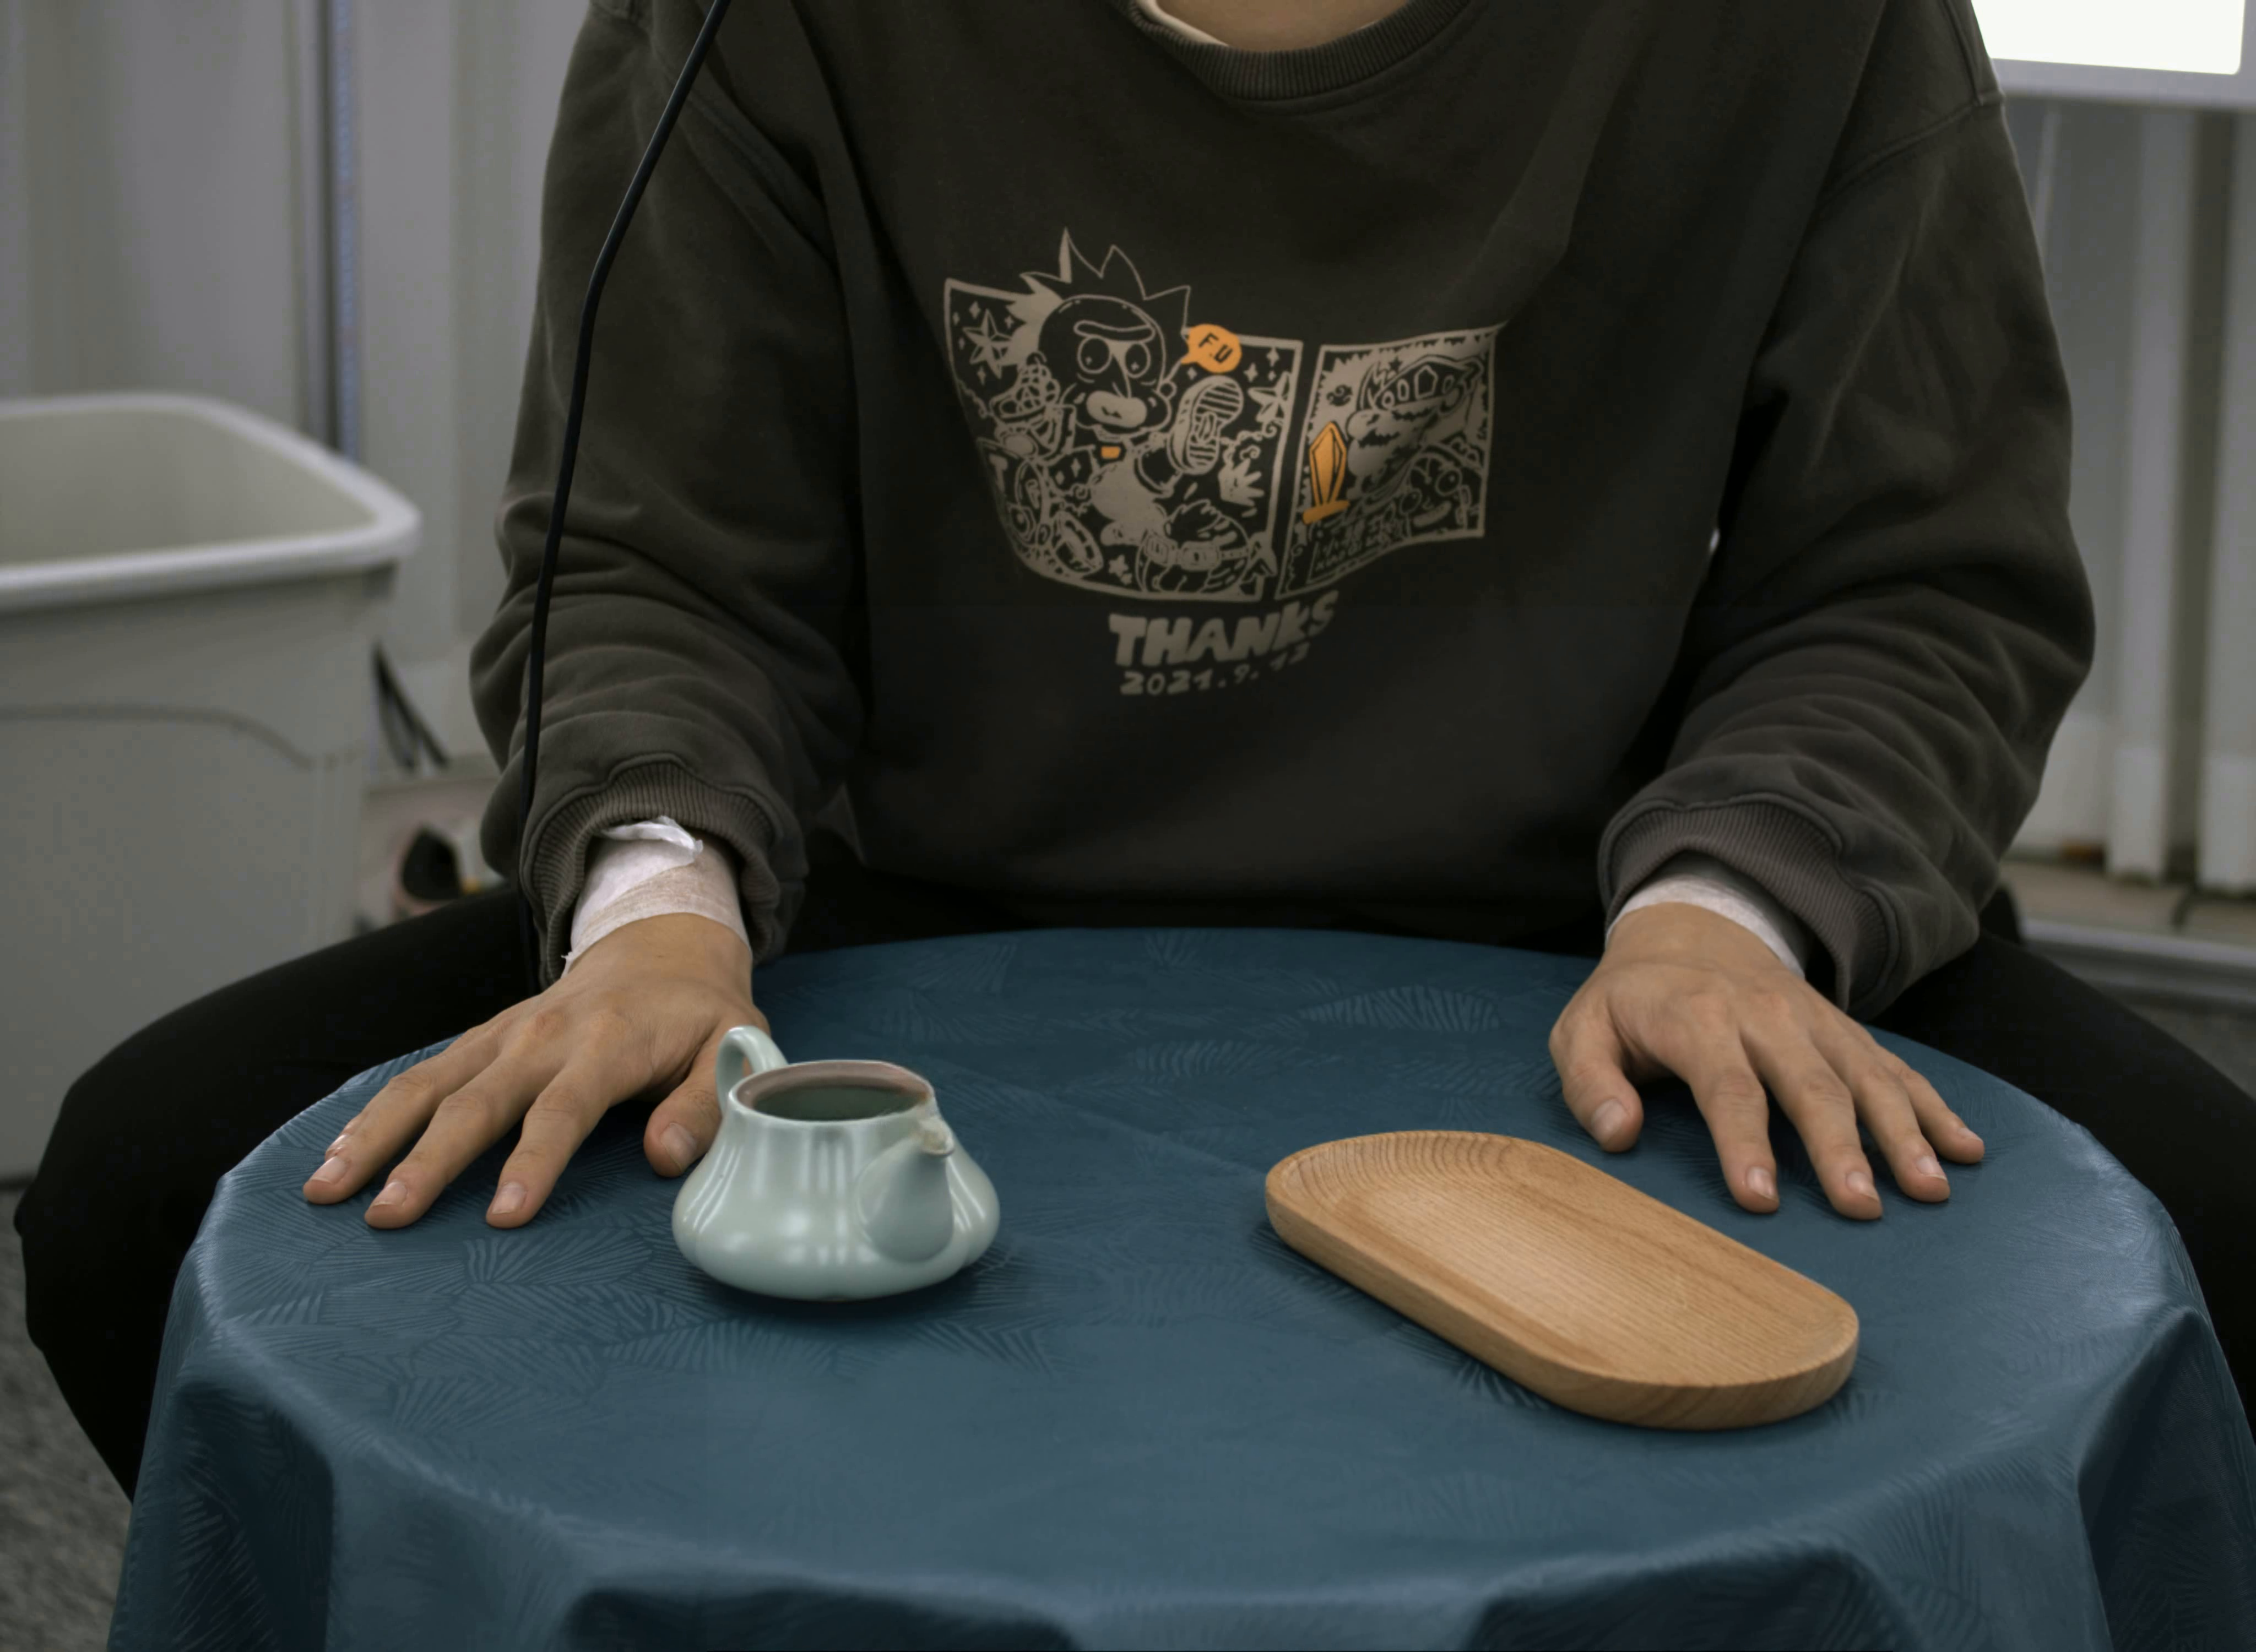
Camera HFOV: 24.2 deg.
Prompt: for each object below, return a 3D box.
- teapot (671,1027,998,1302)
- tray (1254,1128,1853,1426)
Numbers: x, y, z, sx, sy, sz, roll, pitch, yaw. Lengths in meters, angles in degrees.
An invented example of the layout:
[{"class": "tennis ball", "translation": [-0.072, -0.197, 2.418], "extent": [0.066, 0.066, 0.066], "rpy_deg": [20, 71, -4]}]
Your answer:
[{"class": "teapot", "translation": [-0.089, 0.102, 1.553], "extent": [0.096, 0.062, 0.135], "rpy_deg": [-12, 20, -34]}, {"class": "tray", "translation": [0.121, 0.130, 1.541], "extent": [0.102, 0.020, 0.228], "rpy_deg": [-8, 17, -29]}]
